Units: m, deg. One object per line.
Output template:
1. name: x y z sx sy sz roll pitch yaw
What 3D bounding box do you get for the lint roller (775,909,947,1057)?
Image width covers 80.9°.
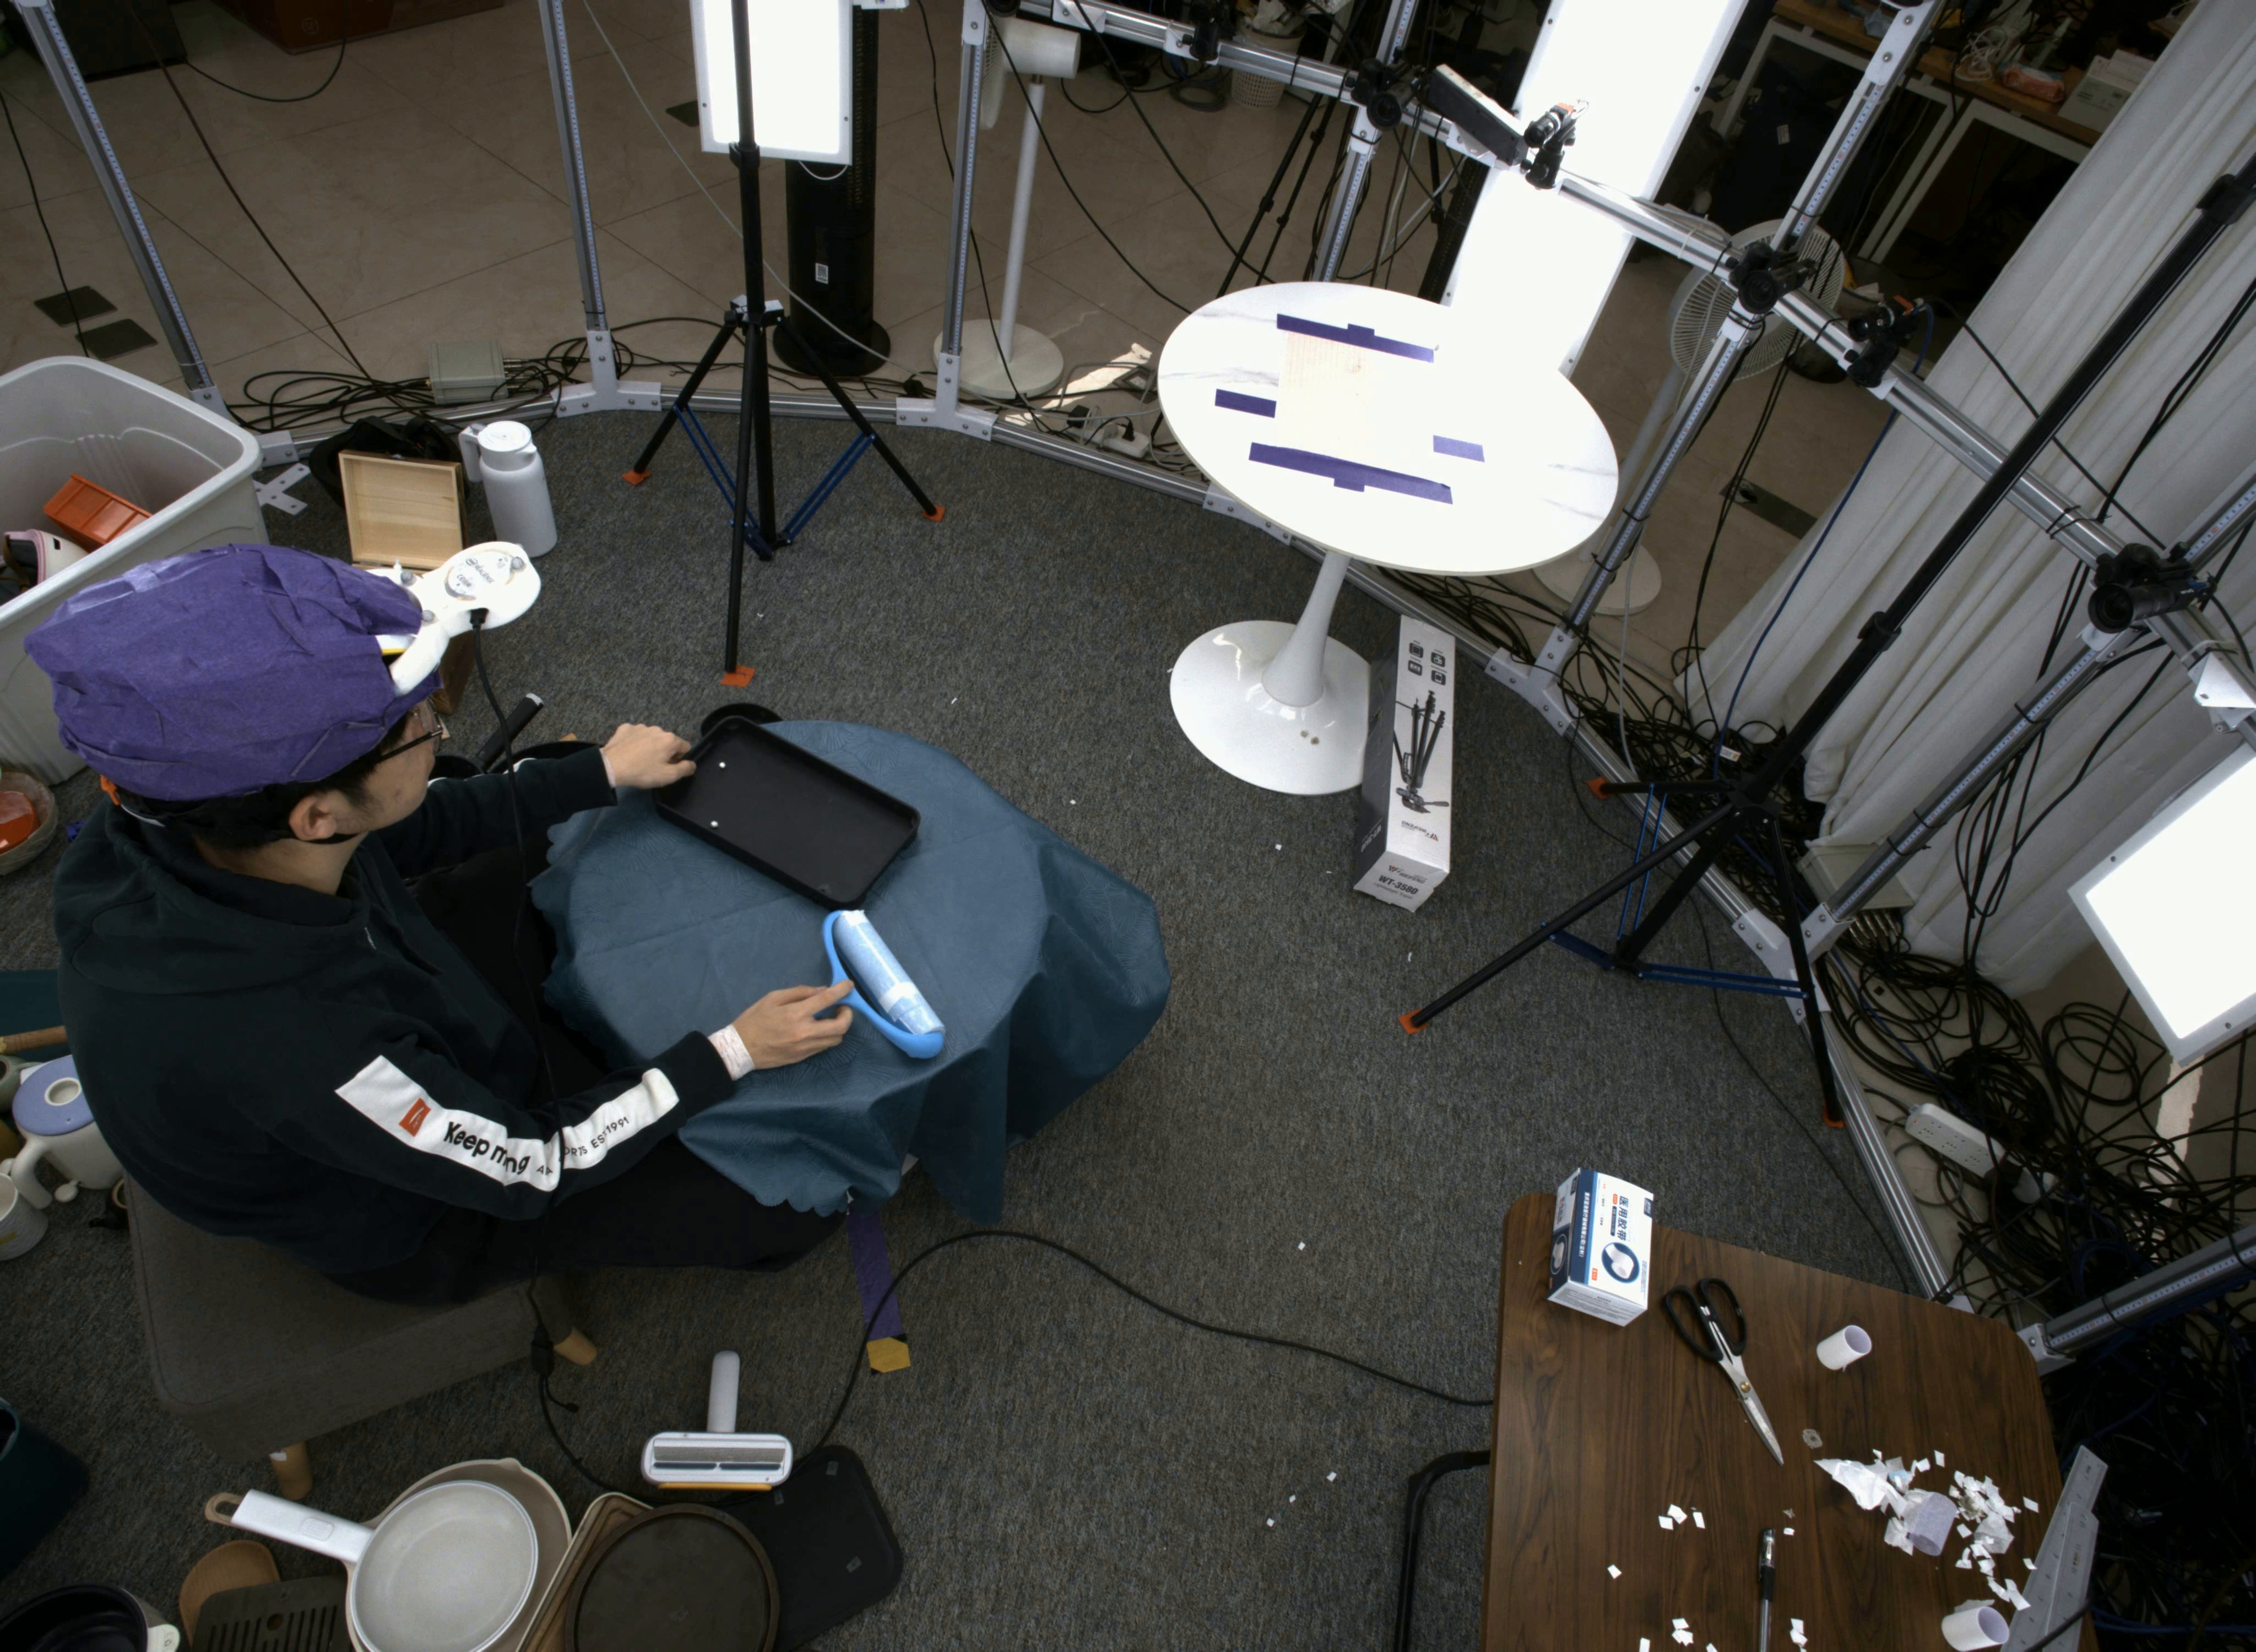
1. lint roller: -0.341 0.211 1.559 0.181 0.069 0.224 -29 68 -32

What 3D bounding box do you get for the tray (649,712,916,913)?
1. tray: -0.456 -0.021 1.715 0.314 0.038 0.183 27 53 4
